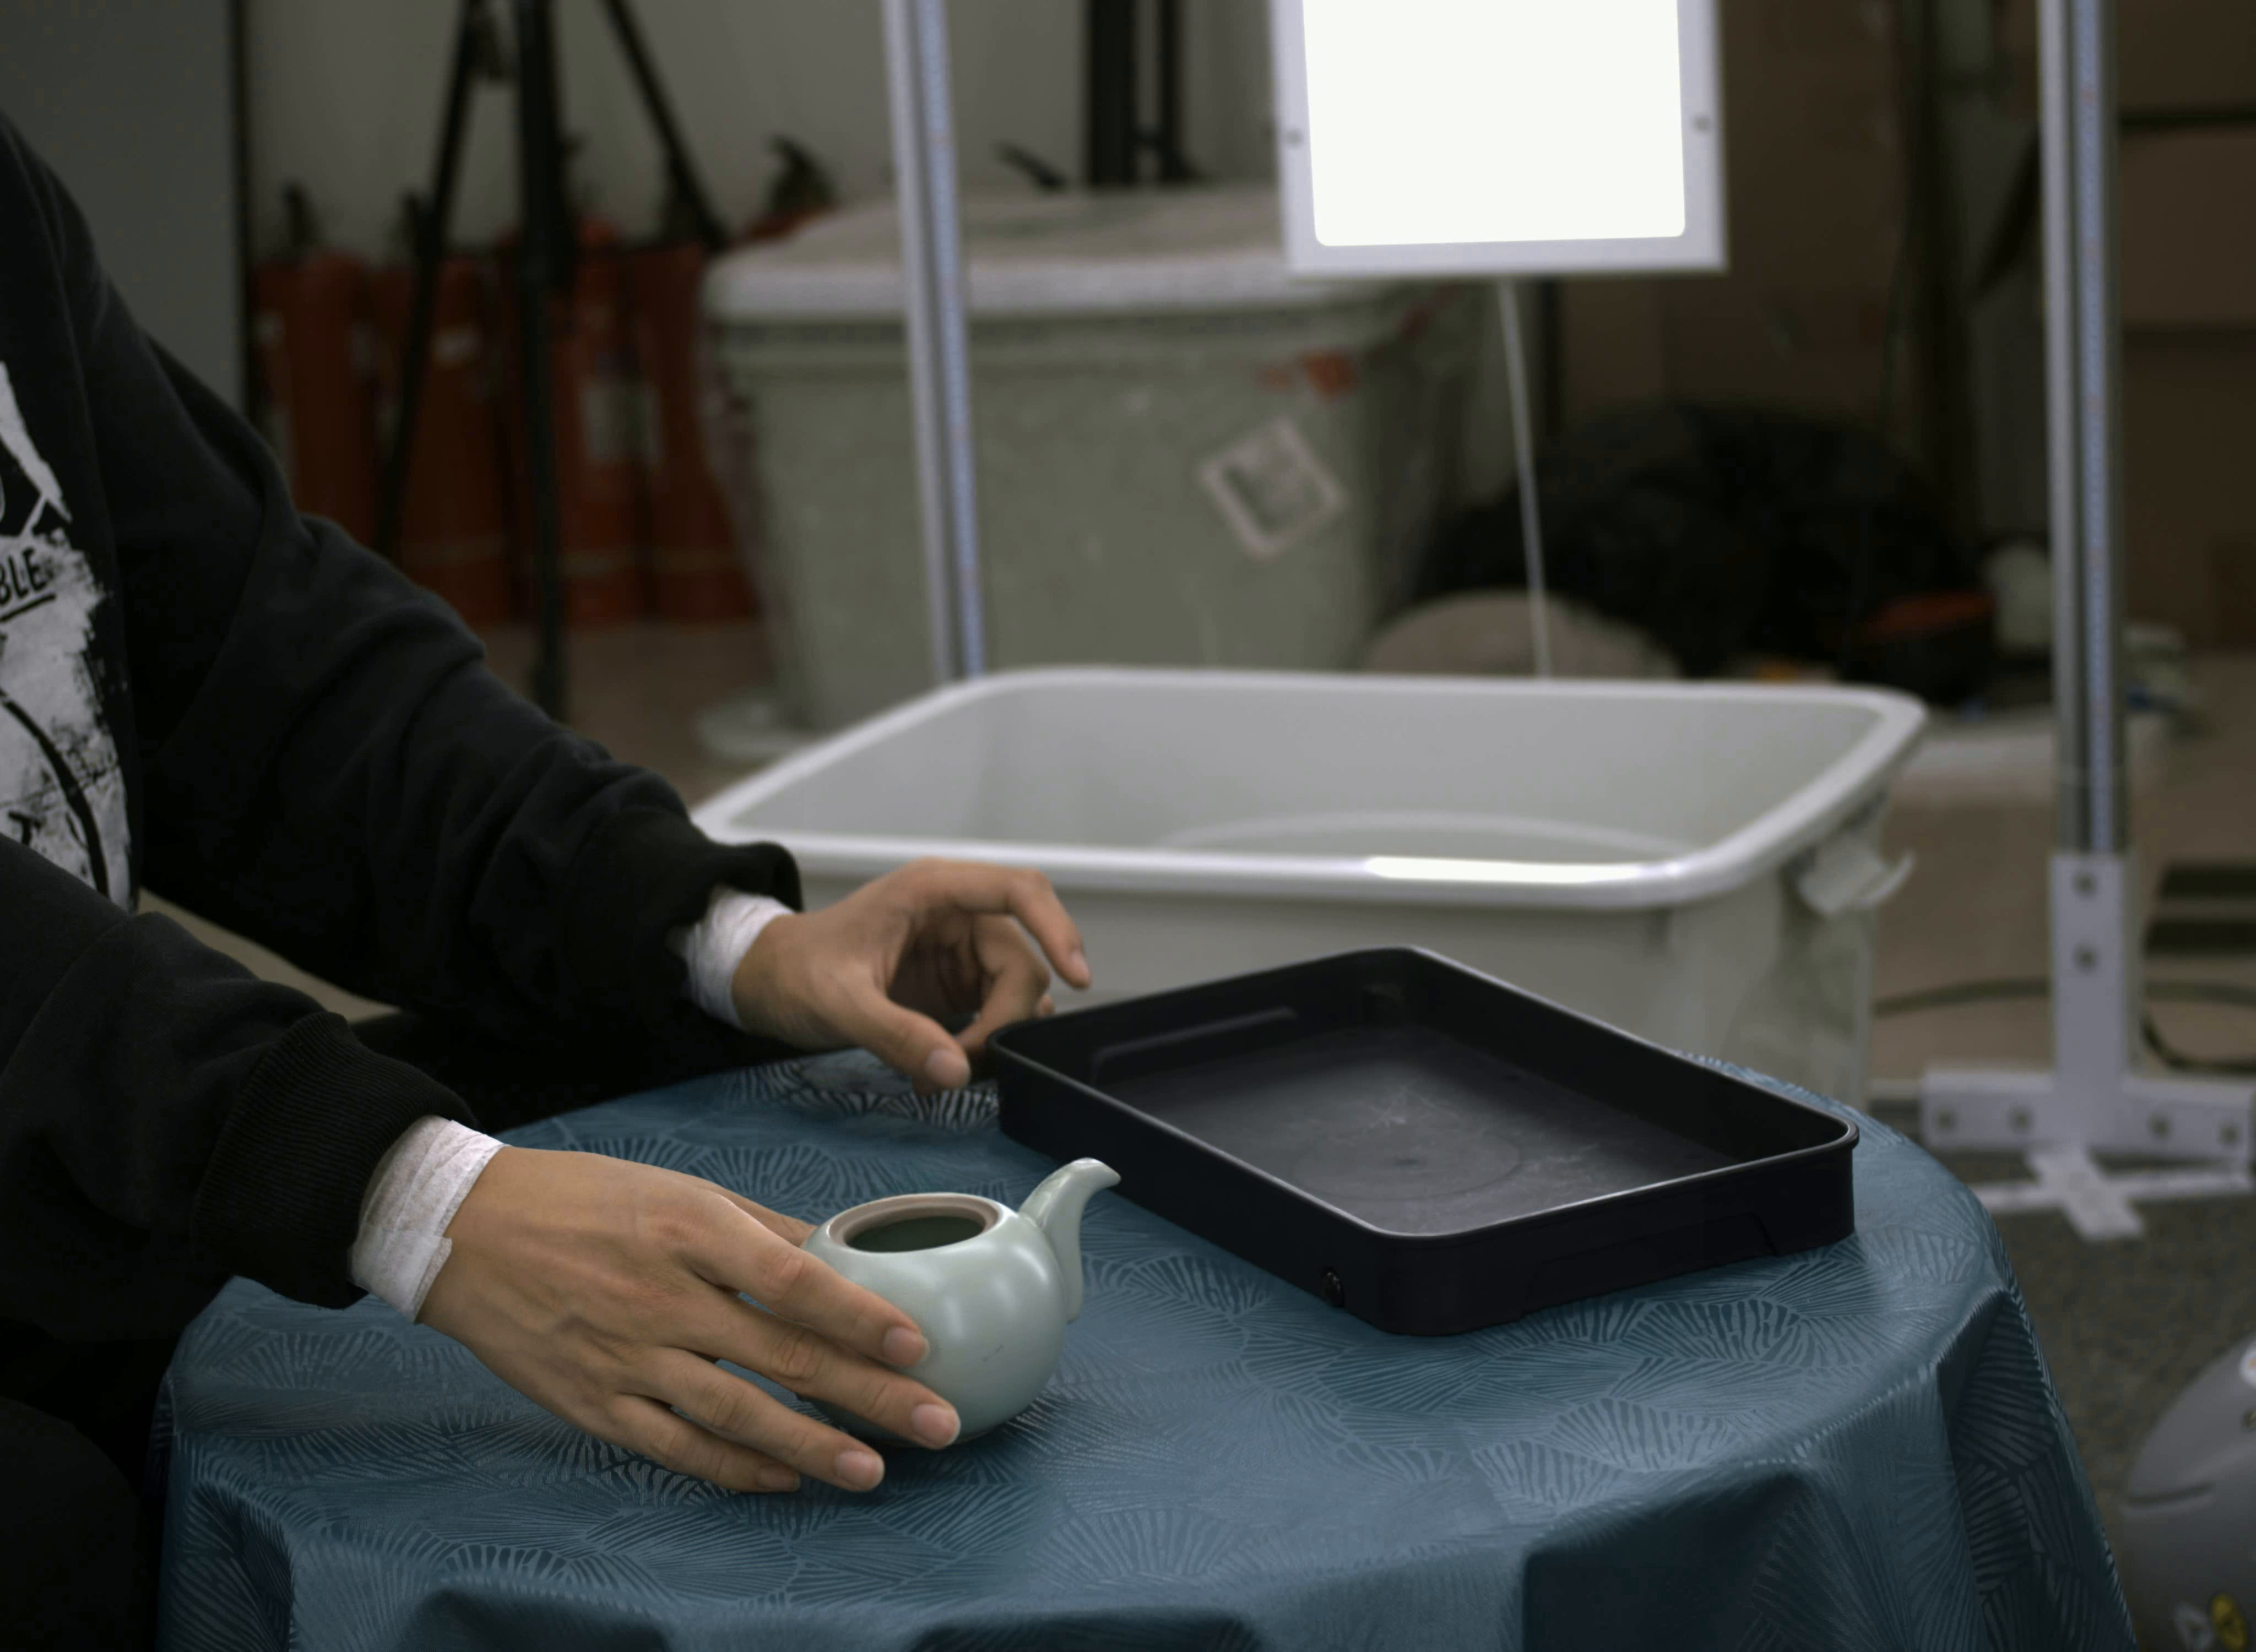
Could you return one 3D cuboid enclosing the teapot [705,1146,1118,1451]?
[{"bbox_3d":[-0.061,0.149,1.680,0.141,0.075,0.090,-15,16,-23],"label":"teapot"}]

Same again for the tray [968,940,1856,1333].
[{"bbox_3d":[0.092,0.102,1.891,0.180,0.037,0.323,-13,16,-26],"label":"tray"}]
